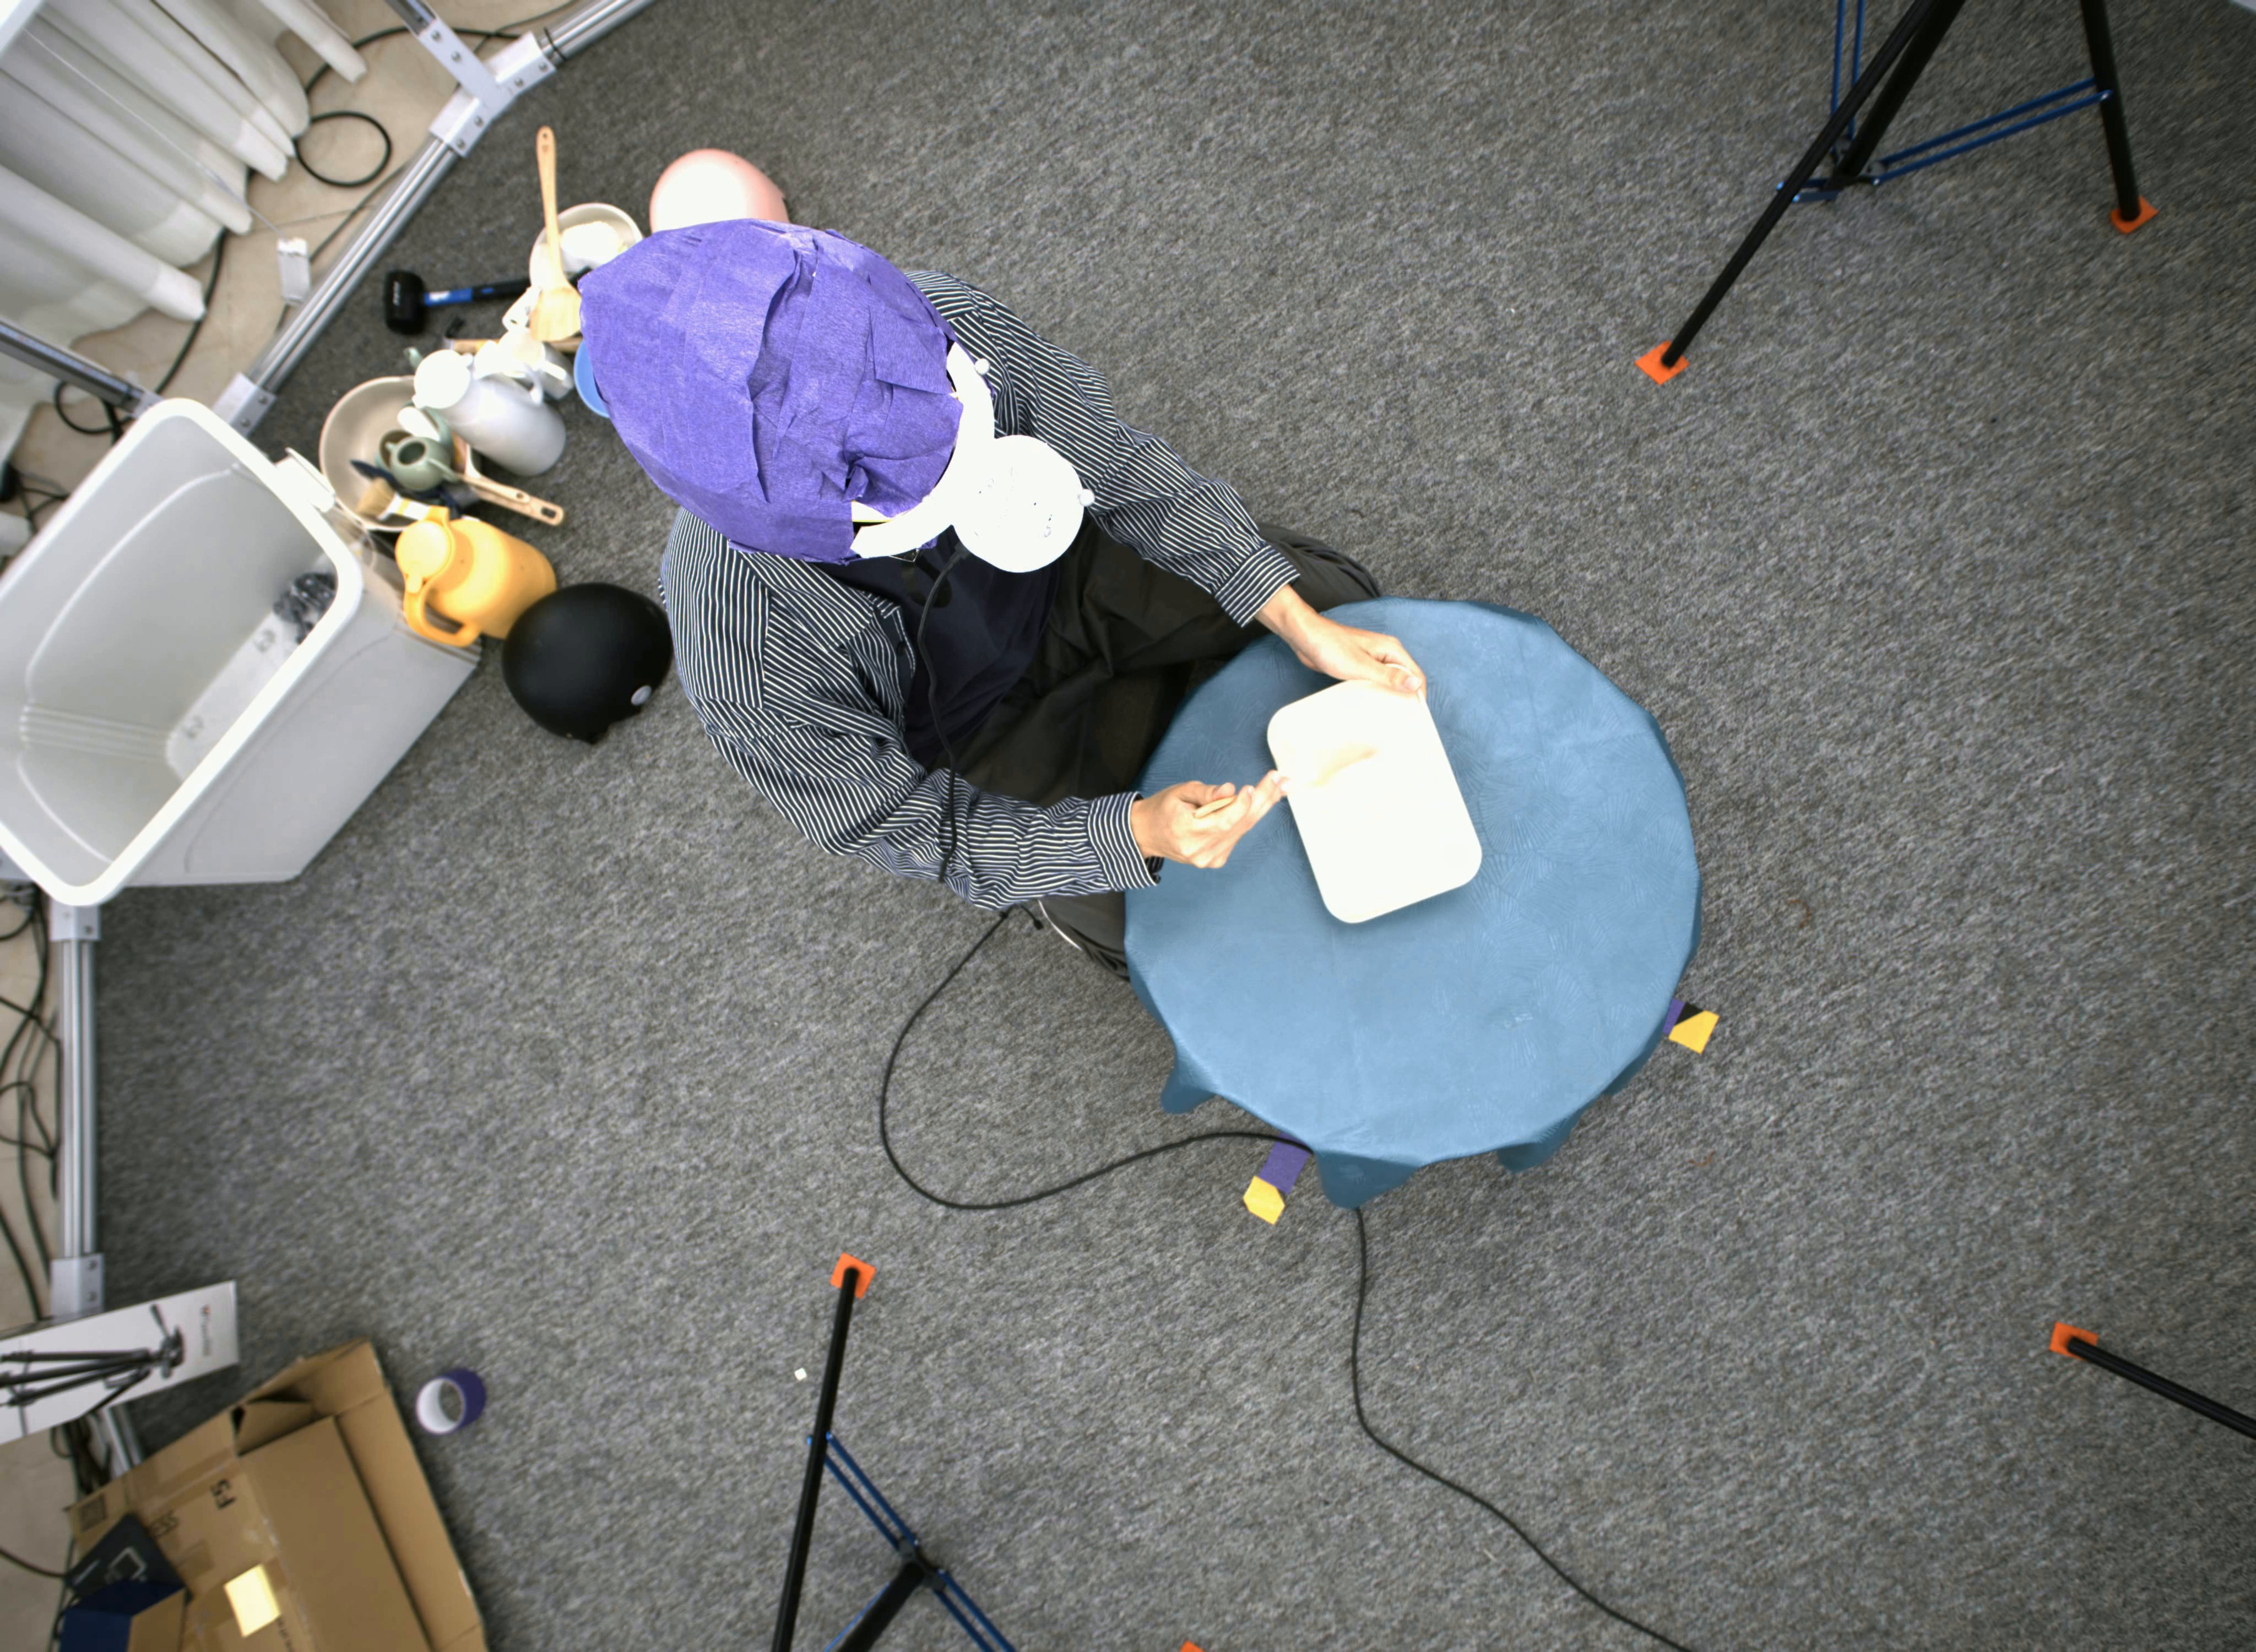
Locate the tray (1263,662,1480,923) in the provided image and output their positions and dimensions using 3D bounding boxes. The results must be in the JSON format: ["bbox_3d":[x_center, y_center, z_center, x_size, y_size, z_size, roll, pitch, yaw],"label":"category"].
[{"bbox_3d":[0.246,-0.034,1.400,0.173,0.017,0.238,-21,84,24],"label":"tray"}]

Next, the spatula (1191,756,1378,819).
[{"bbox_3d":[0.143,-0.033,1.281,0.081,0.323,0.016,-27,82,32],"label":"spatula"}]
